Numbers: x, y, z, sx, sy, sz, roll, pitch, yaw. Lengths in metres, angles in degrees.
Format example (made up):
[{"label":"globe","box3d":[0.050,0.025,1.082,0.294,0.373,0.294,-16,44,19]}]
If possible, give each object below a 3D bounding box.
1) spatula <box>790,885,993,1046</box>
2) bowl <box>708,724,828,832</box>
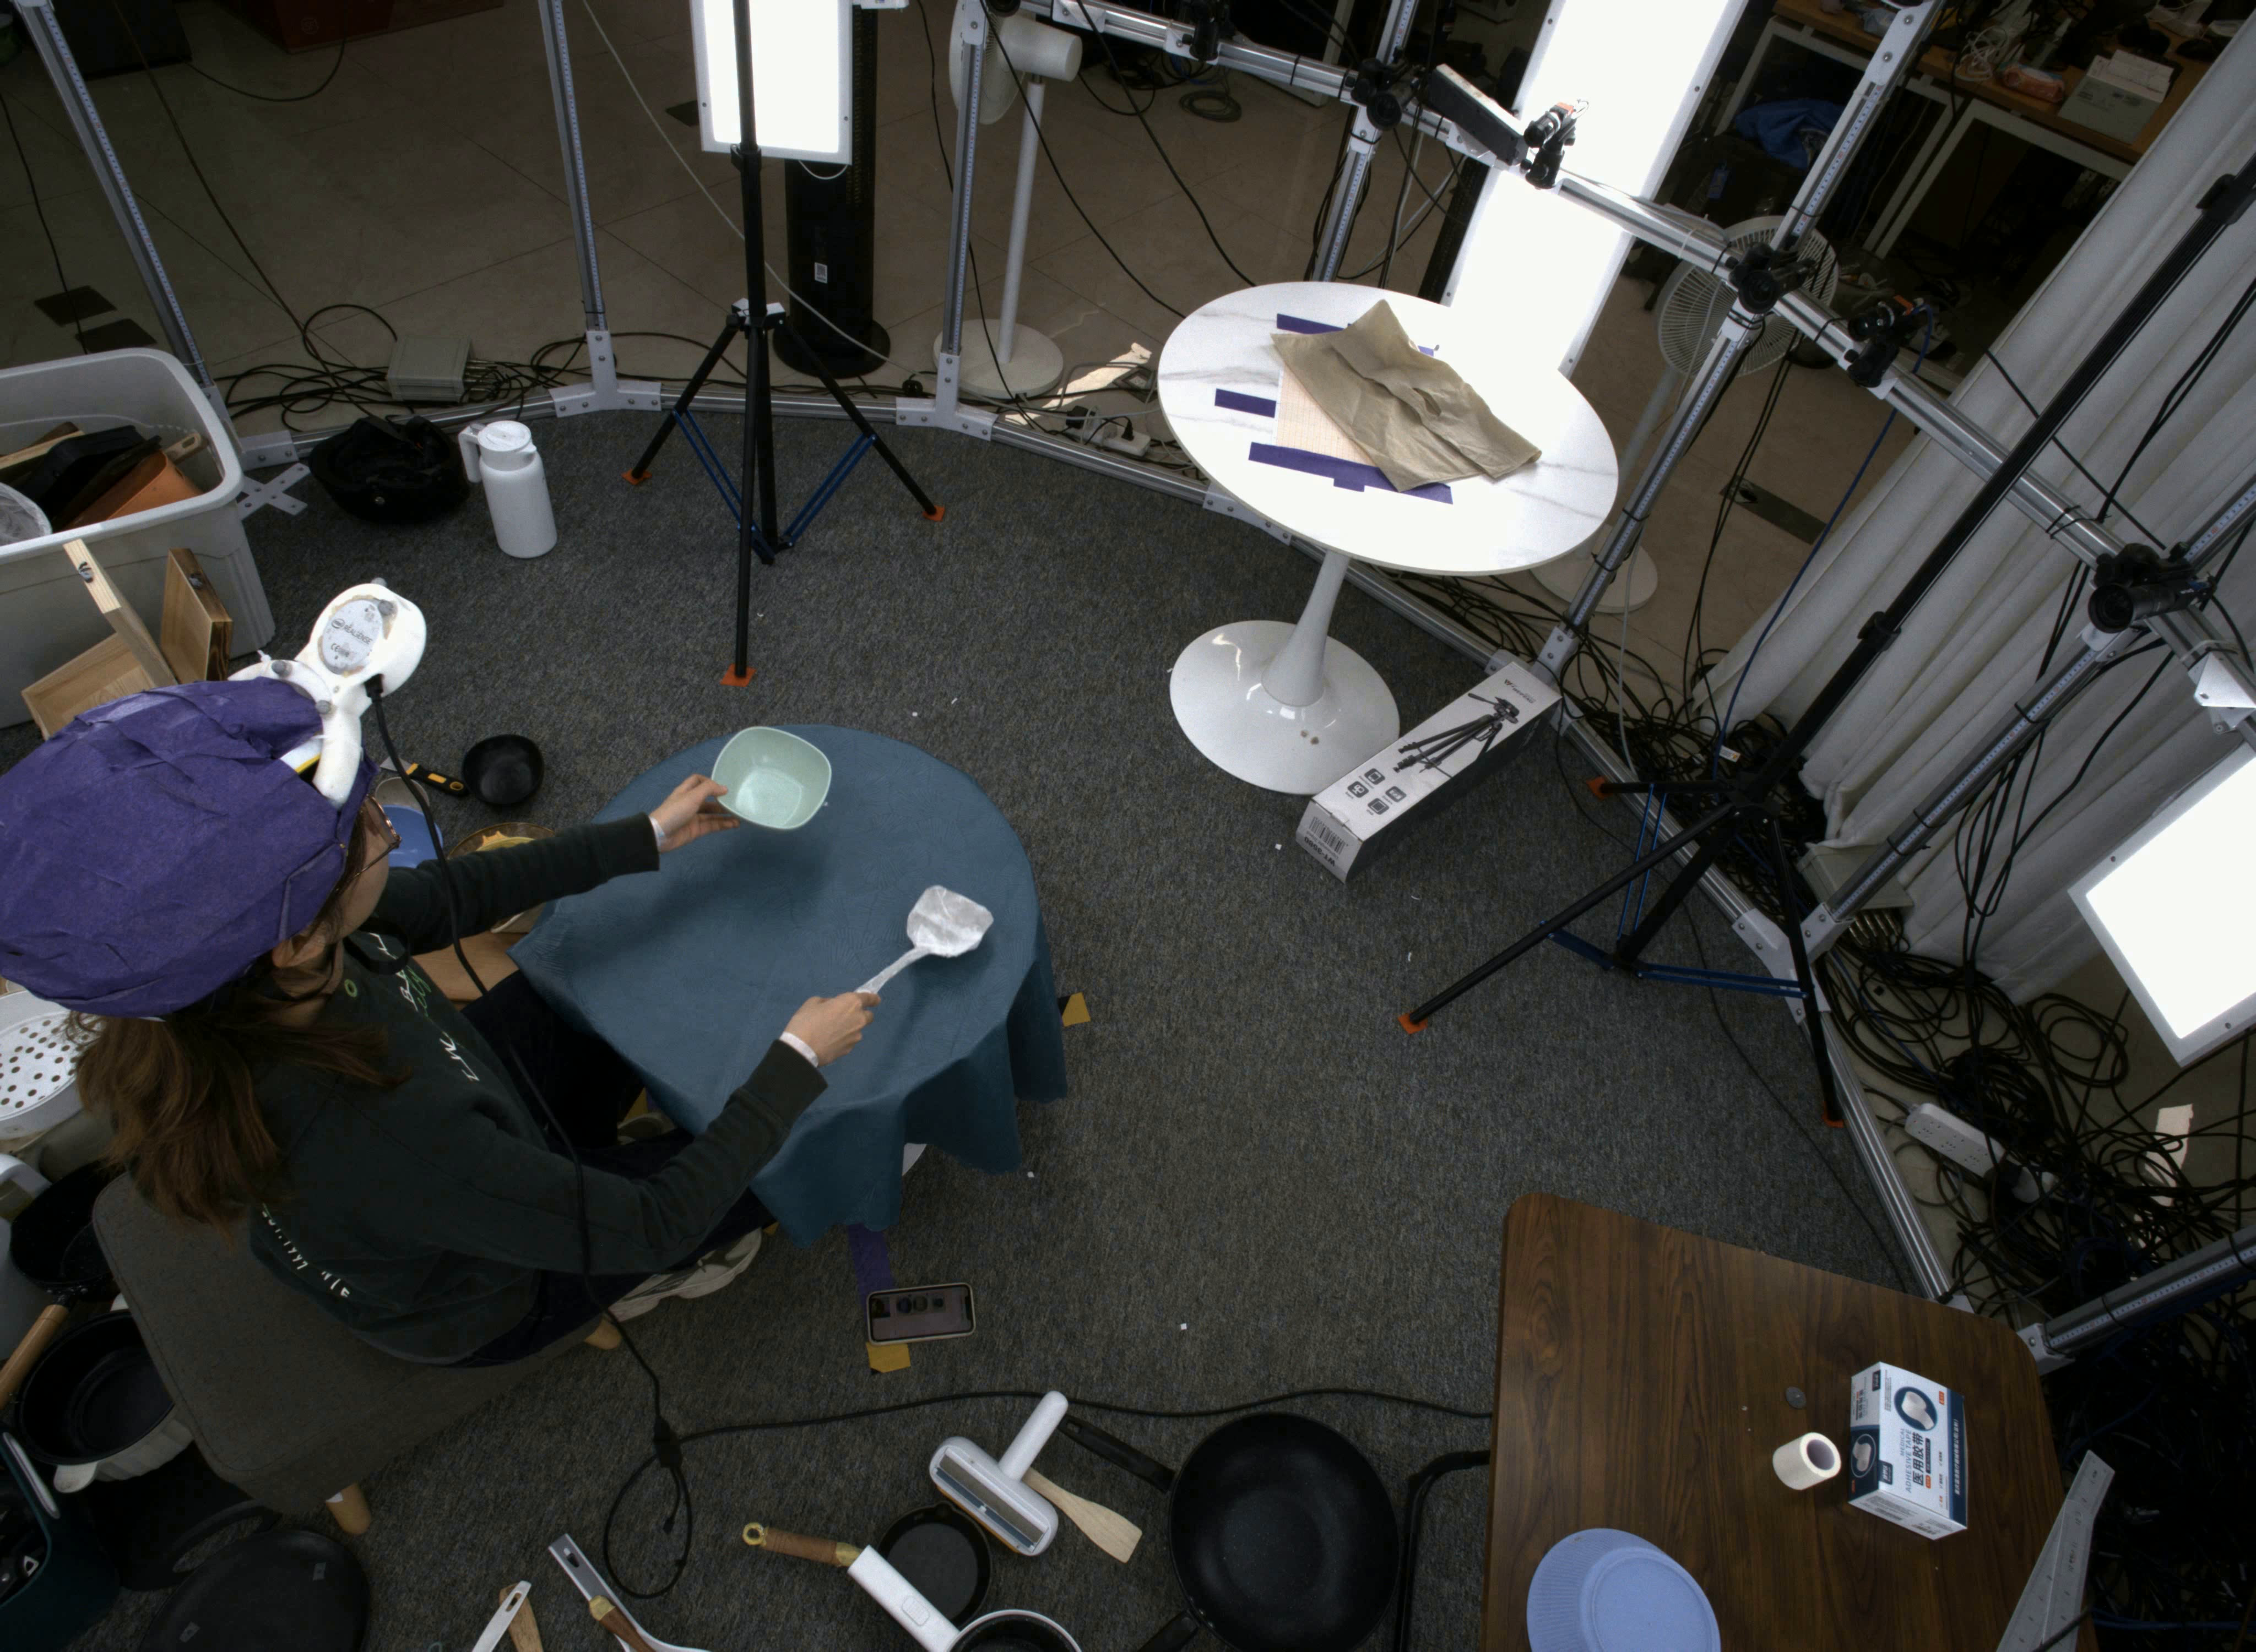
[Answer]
[{"label":"spatula","box3d":[-0.277,0.161,1.520,0.097,0.045,0.365,28,25,11]},{"label":"bowl","box3d":[-0.453,-0.050,1.620,0.153,0.059,0.149,13,56,-18]}]
